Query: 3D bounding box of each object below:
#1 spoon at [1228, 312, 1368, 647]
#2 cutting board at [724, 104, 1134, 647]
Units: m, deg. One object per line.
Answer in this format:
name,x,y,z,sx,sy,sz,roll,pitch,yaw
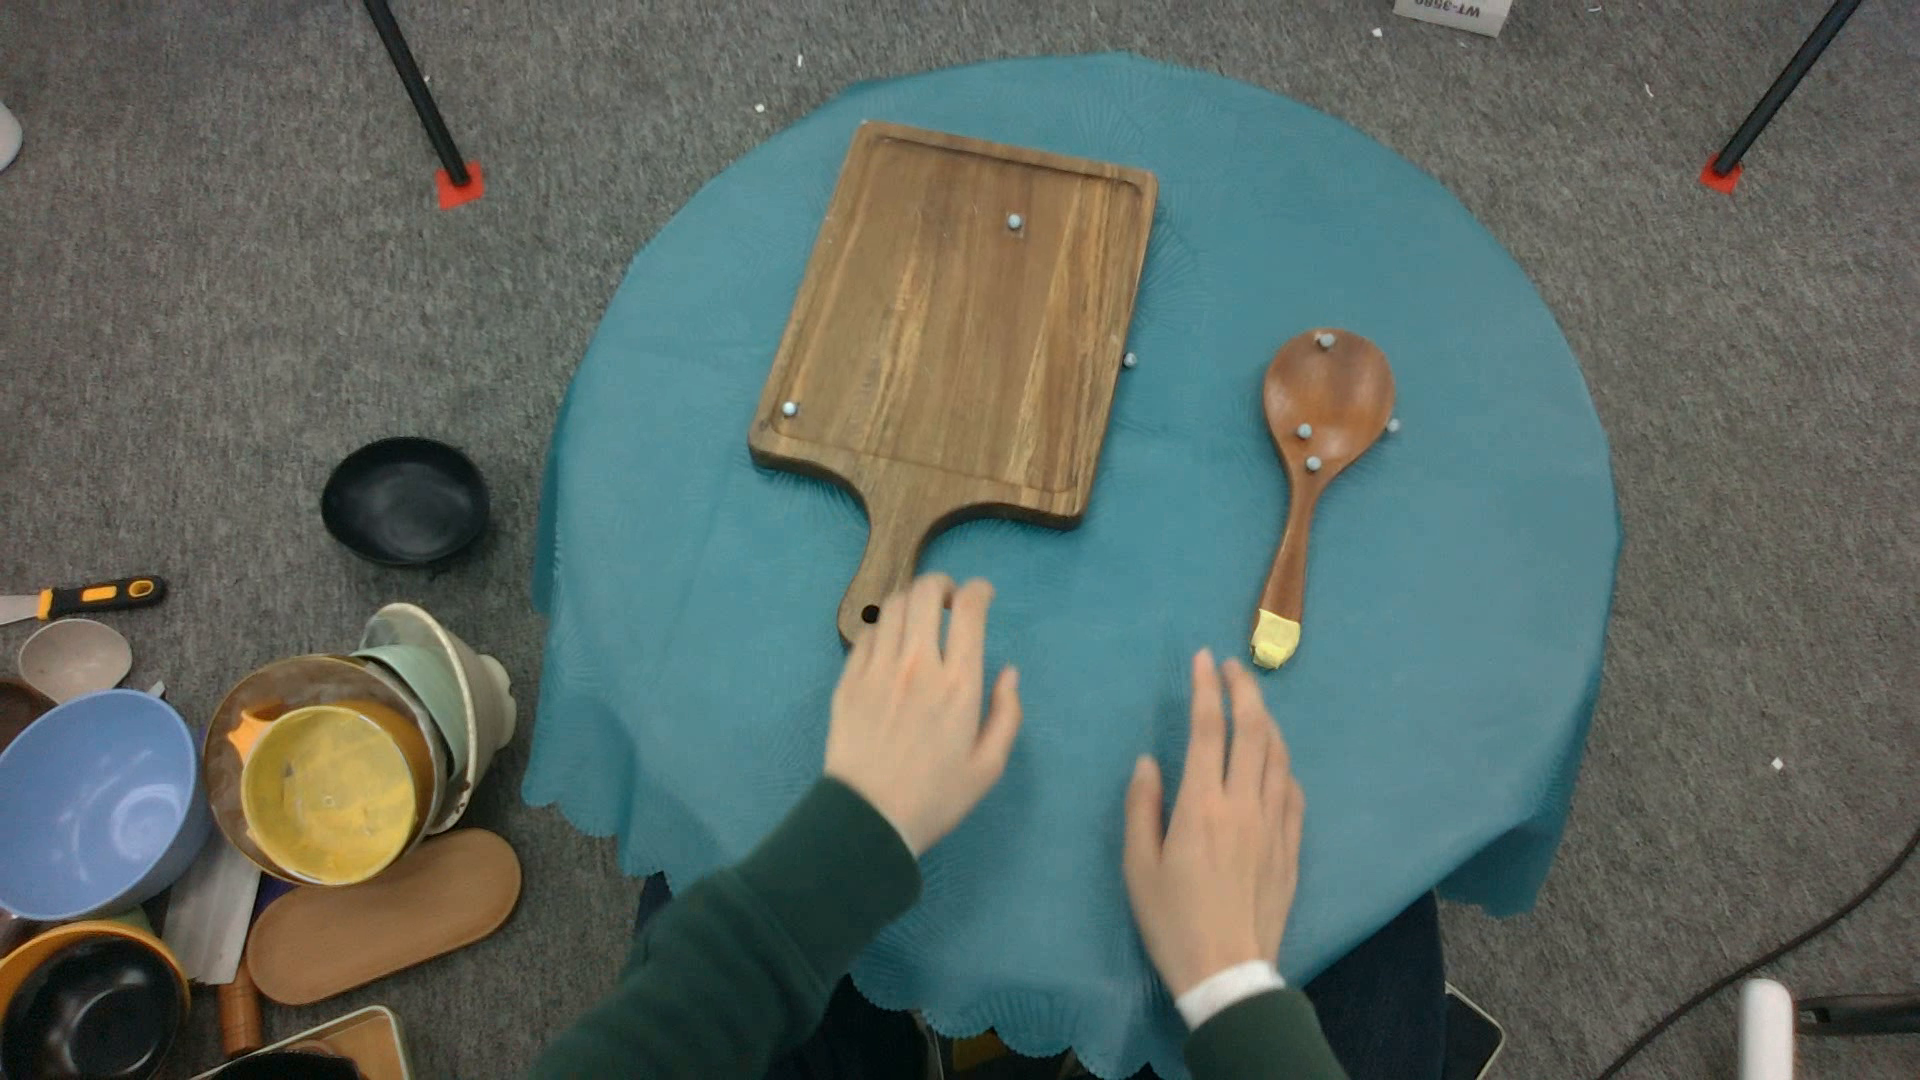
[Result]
spoon,0.180,-0.038,0.769,0.075,0.017,0.217,15,64,5
cutting board,-0.022,-0.102,0.797,0.201,0.023,0.353,12,64,4
